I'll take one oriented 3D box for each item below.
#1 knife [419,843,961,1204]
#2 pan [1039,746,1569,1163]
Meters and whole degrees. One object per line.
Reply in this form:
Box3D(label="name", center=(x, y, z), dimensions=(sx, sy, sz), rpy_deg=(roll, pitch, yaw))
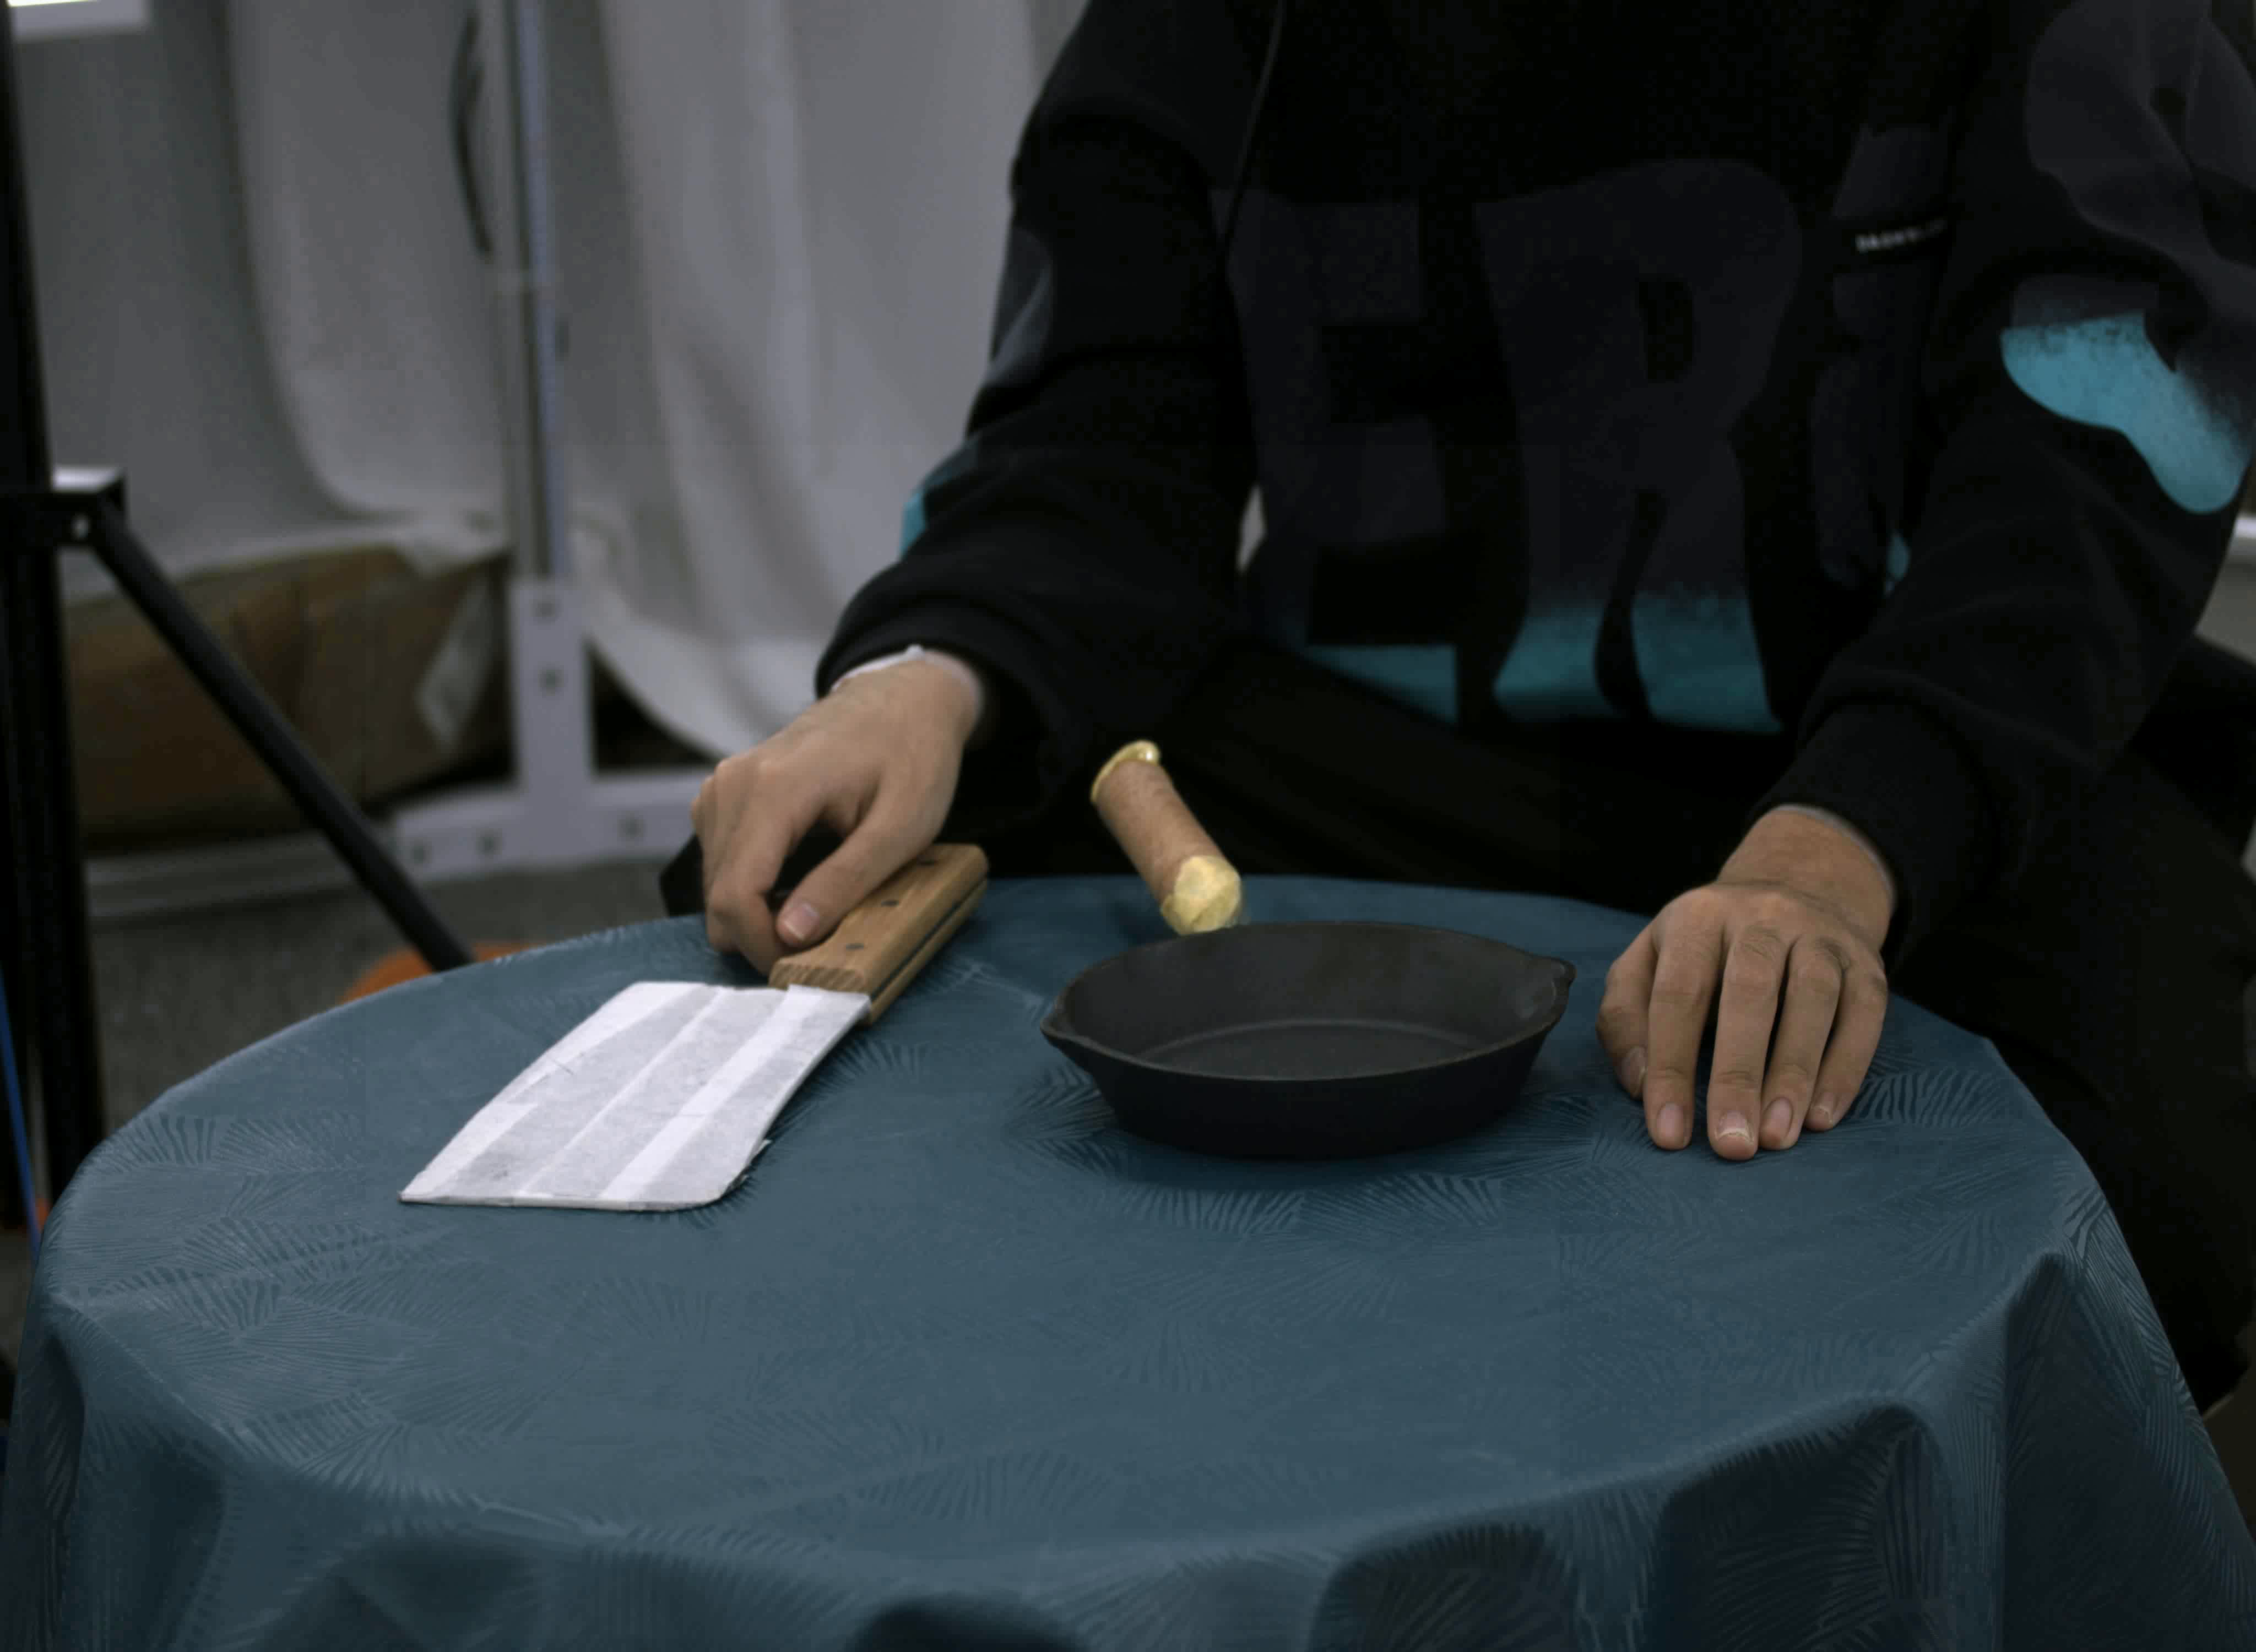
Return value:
Box3D(label="knife", center=(-0.121, 0.064, 1.702), dimensions=(0.115, 0.022, 0.312), rpy_deg=(3, 19, 21))
Box3D(label="pan", center=(0.035, 0.038, 1.708), dimensions=(0.166, 0.049, 0.329), rpy_deg=(-7, 17, -12))
